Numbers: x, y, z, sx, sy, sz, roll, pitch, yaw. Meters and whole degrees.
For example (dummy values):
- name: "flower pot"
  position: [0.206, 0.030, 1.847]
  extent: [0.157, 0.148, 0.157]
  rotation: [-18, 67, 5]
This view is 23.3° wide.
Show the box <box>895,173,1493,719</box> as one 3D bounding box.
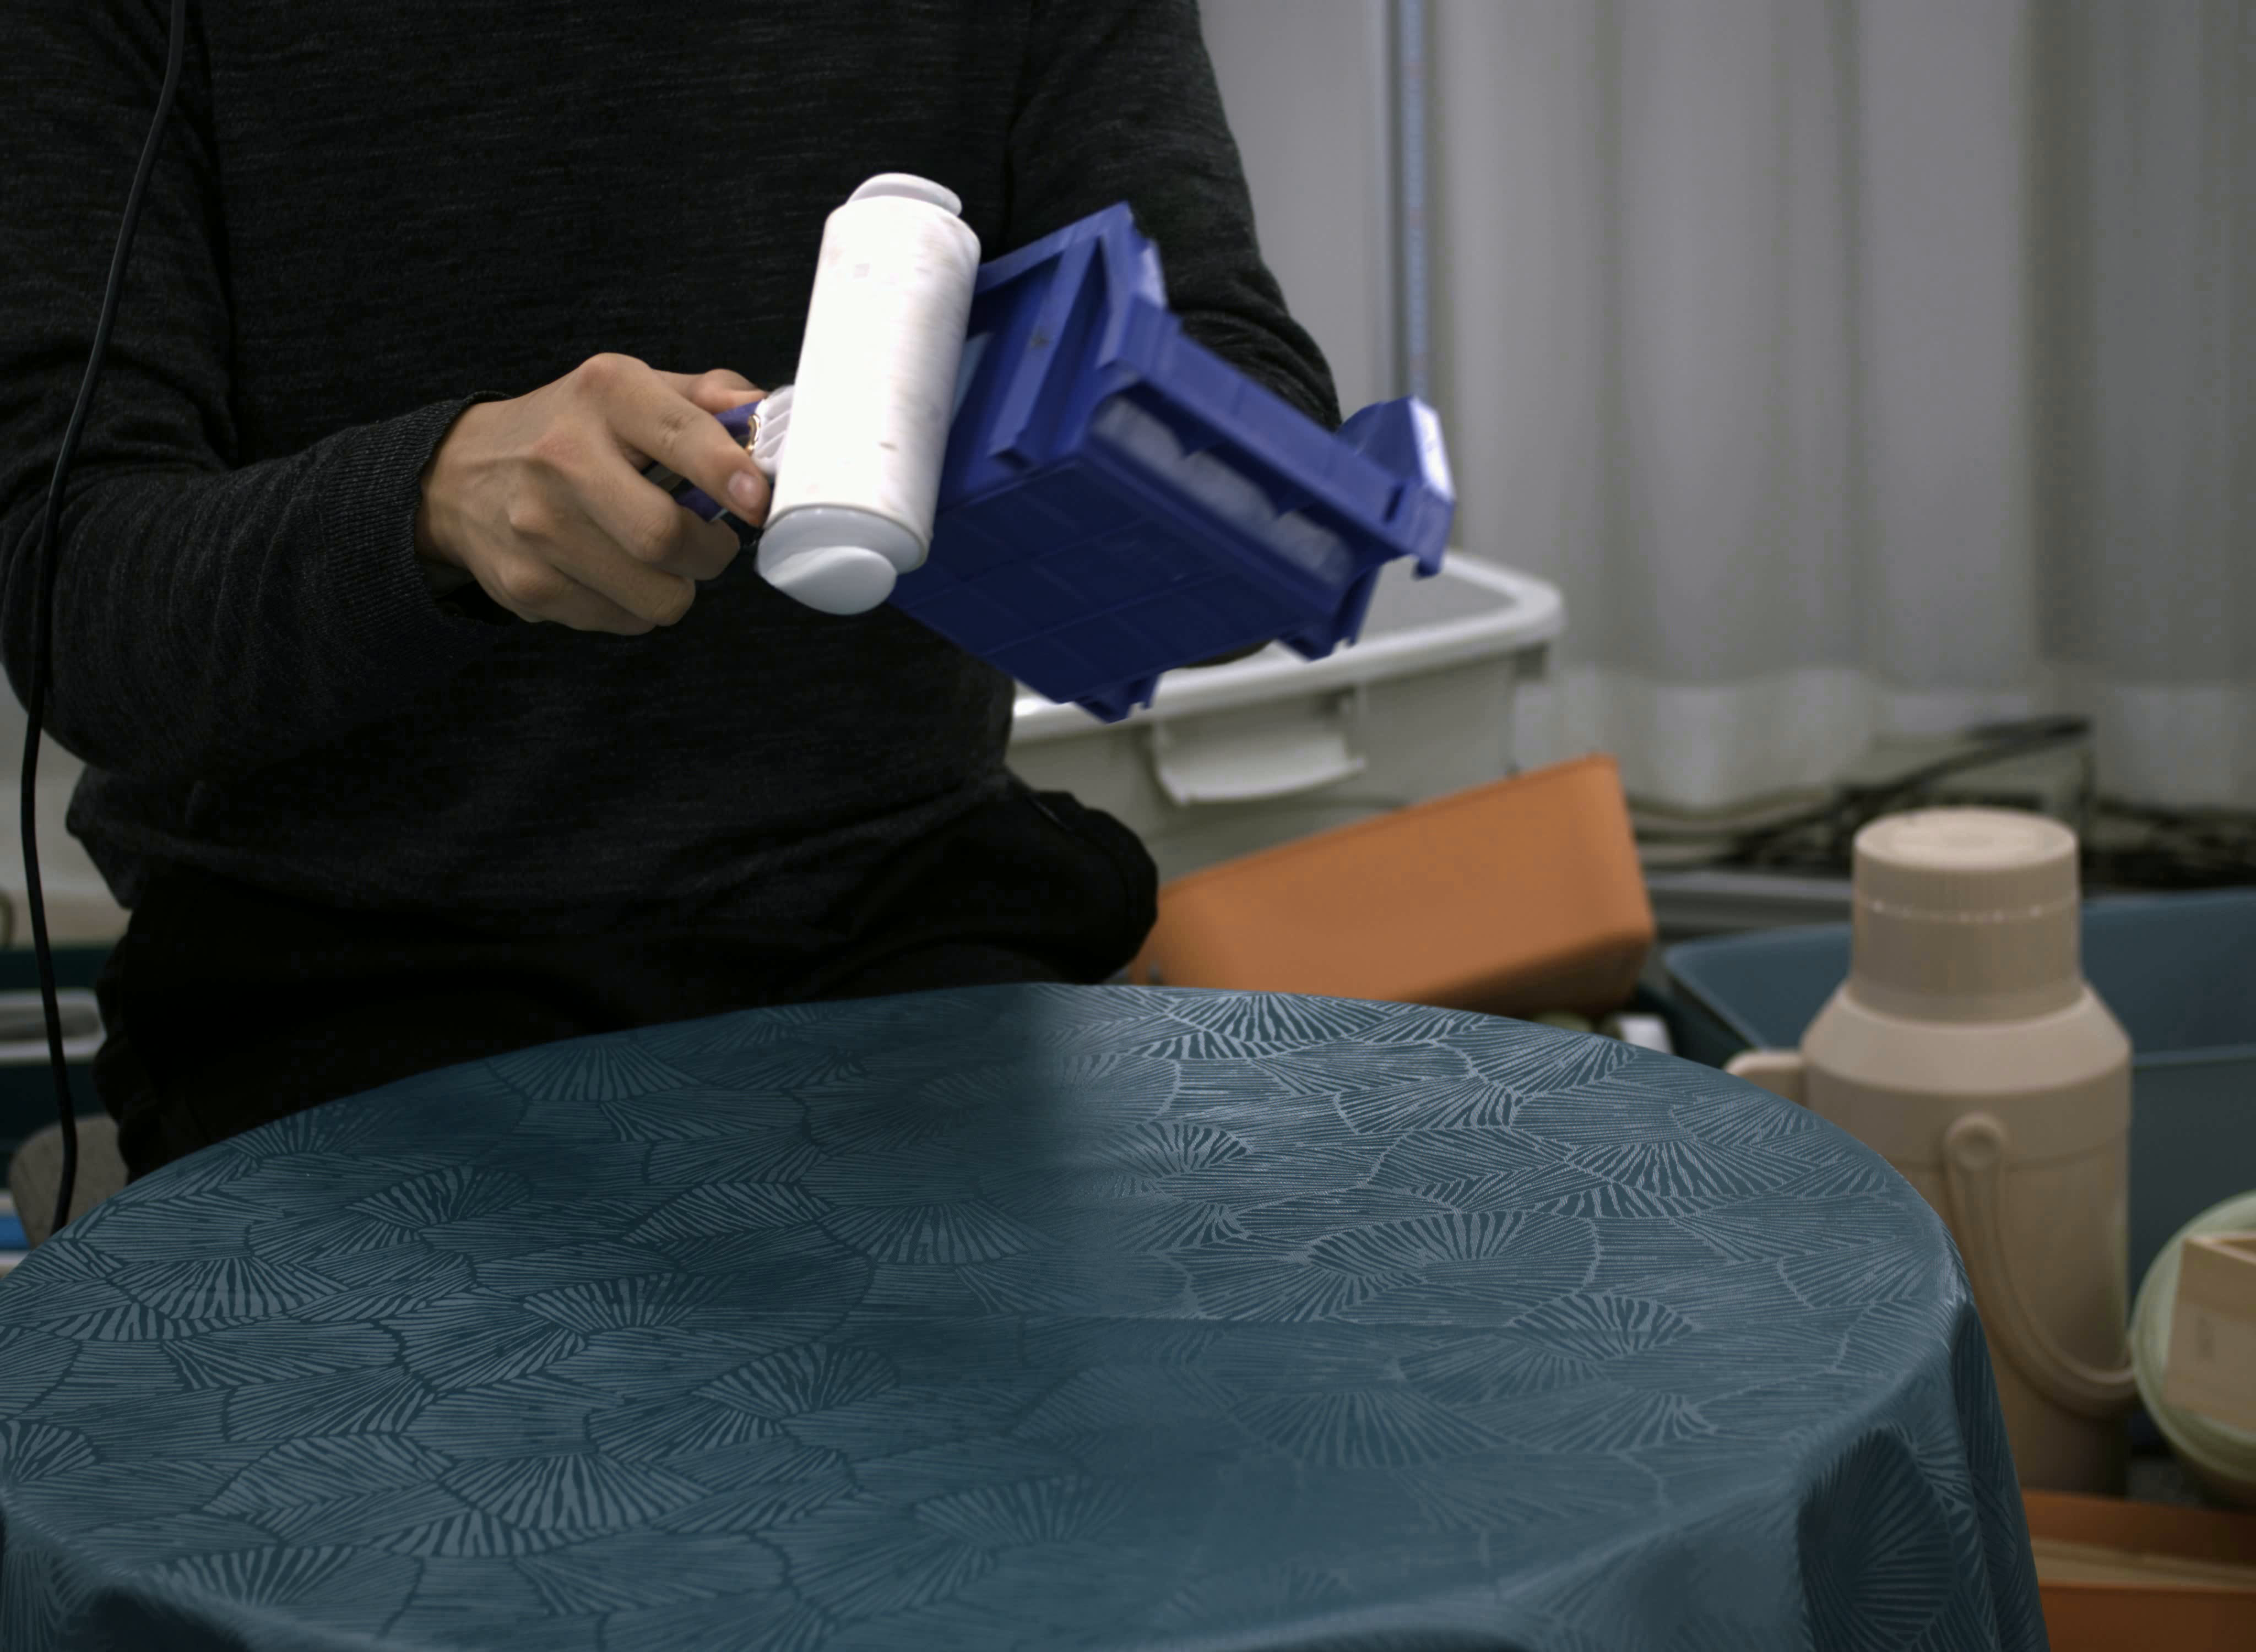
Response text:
- name: "box"
  position: [0.011, -0.108, 1.587]
  extent: [0.123, 0.083, 0.179]
  rotation: [32, -30, -24]

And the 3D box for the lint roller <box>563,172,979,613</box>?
- name: "lint roller"
  position: [-0.119, -0.116, 1.622]
  extent: [0.181, 0.134, 0.049]
  rotation: [-12, -30, 42]
